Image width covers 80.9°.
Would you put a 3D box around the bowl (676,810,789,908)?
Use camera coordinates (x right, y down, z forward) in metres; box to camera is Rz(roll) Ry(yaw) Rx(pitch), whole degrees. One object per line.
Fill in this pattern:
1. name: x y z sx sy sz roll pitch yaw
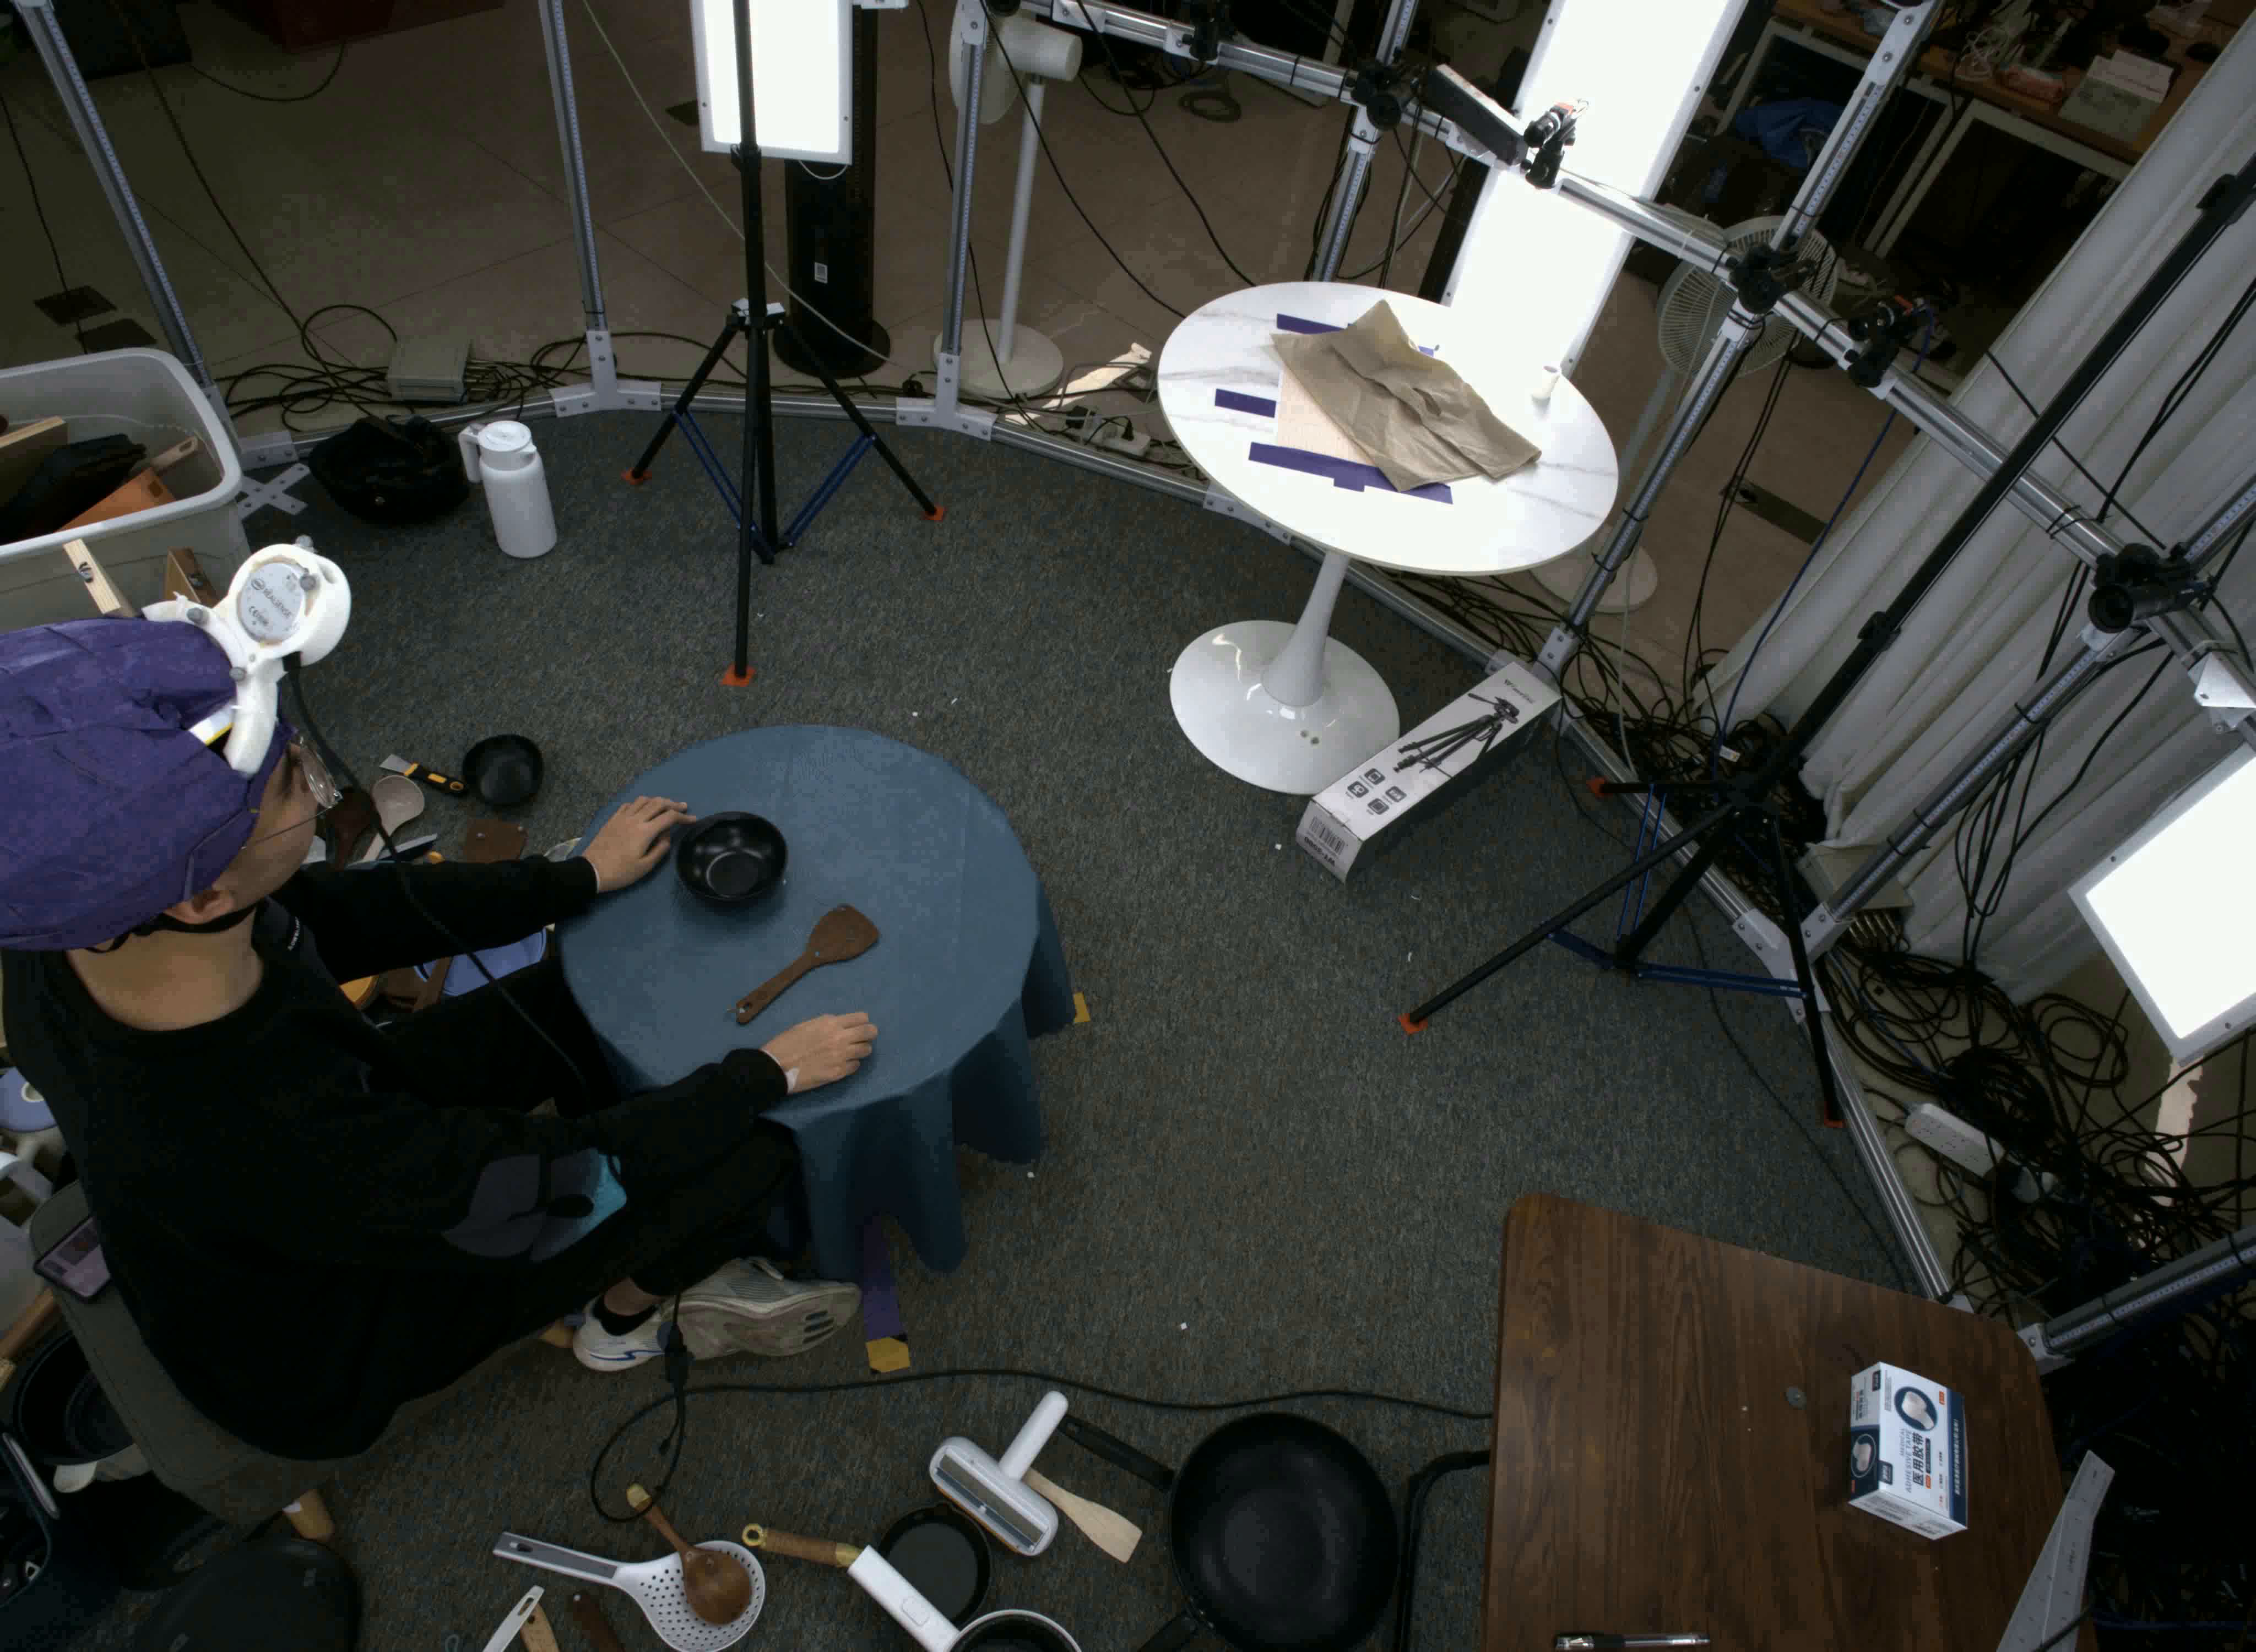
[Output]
1. bowl: -0.502 0.048 1.642 0.140 0.050 0.138 8 55 -10

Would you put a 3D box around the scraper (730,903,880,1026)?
1. scraper: -0.403 0.173 1.601 0.074 0.011 0.211 38 55 16
